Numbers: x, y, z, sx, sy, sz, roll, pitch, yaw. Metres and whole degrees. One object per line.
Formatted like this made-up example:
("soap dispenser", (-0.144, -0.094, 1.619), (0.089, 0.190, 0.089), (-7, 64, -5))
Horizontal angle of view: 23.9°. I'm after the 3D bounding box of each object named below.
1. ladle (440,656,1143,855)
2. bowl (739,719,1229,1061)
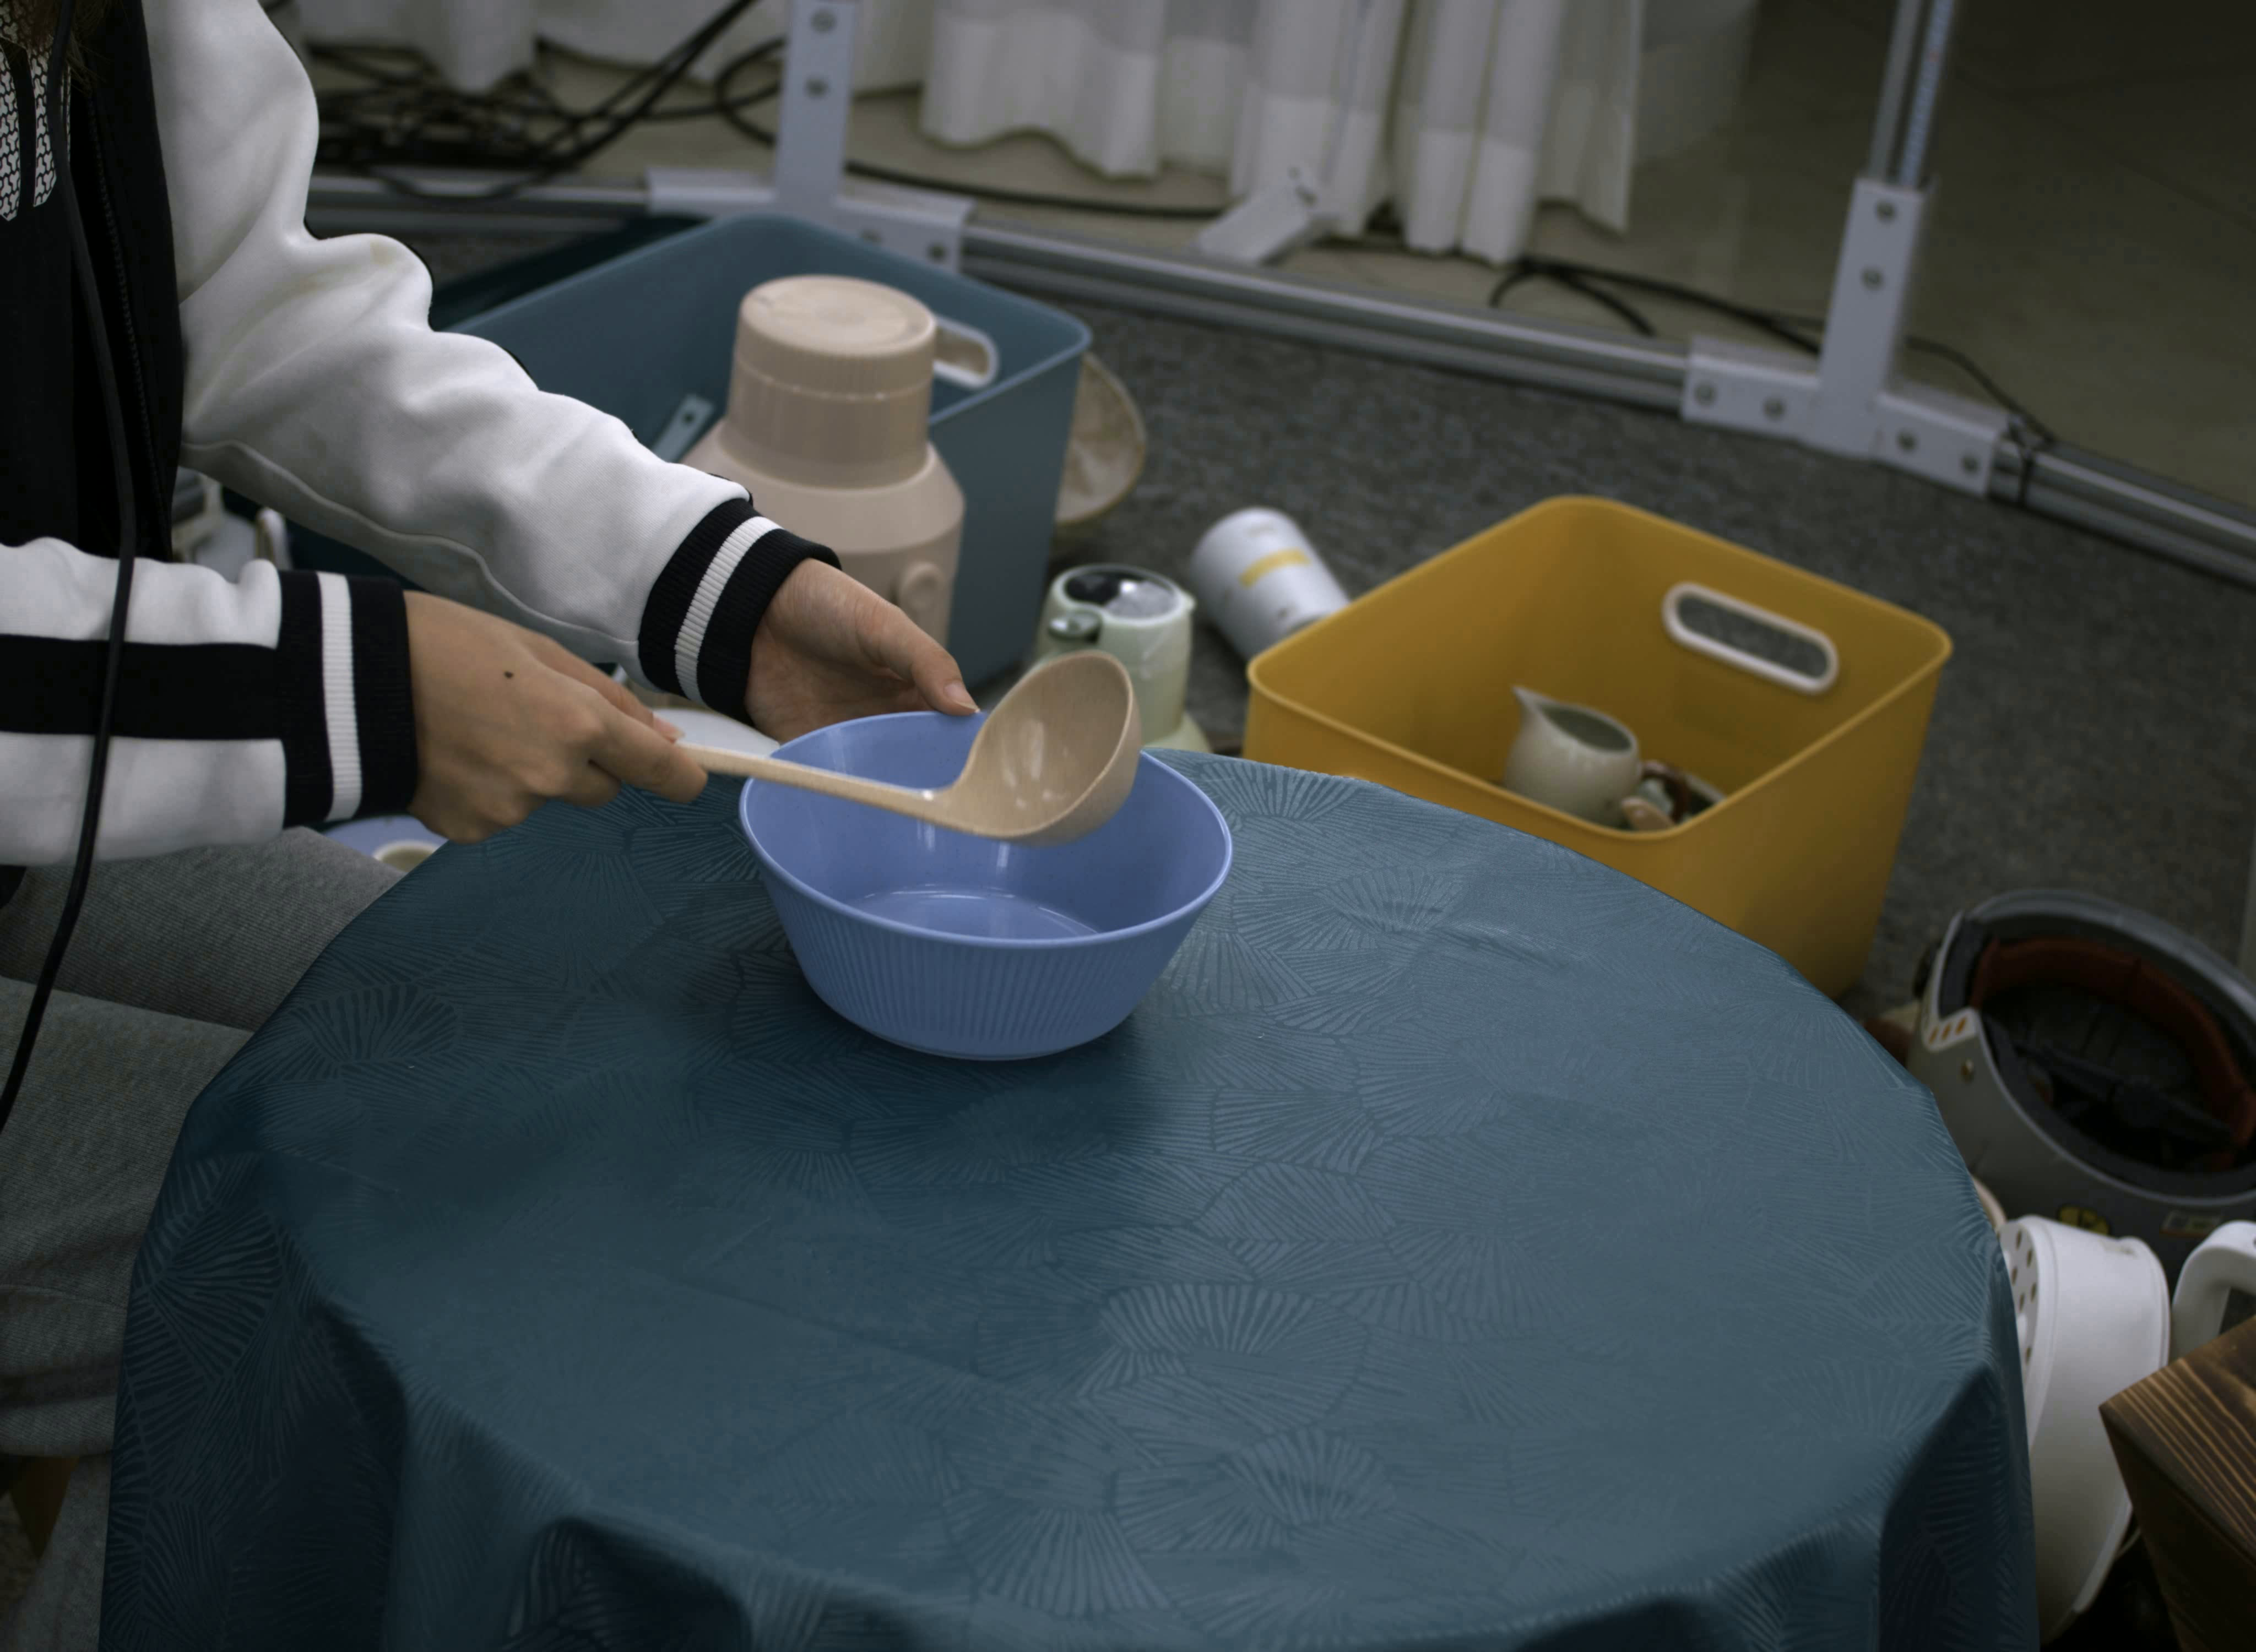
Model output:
("ladle", (-0.110, -0.037, 1.824), (0.252, 0.073, 0.073), (8, 25, -32))
("bowl", (-0.054, 0.028, 1.900), (0.175, 0.070, 0.177), (6, 26, -3))
